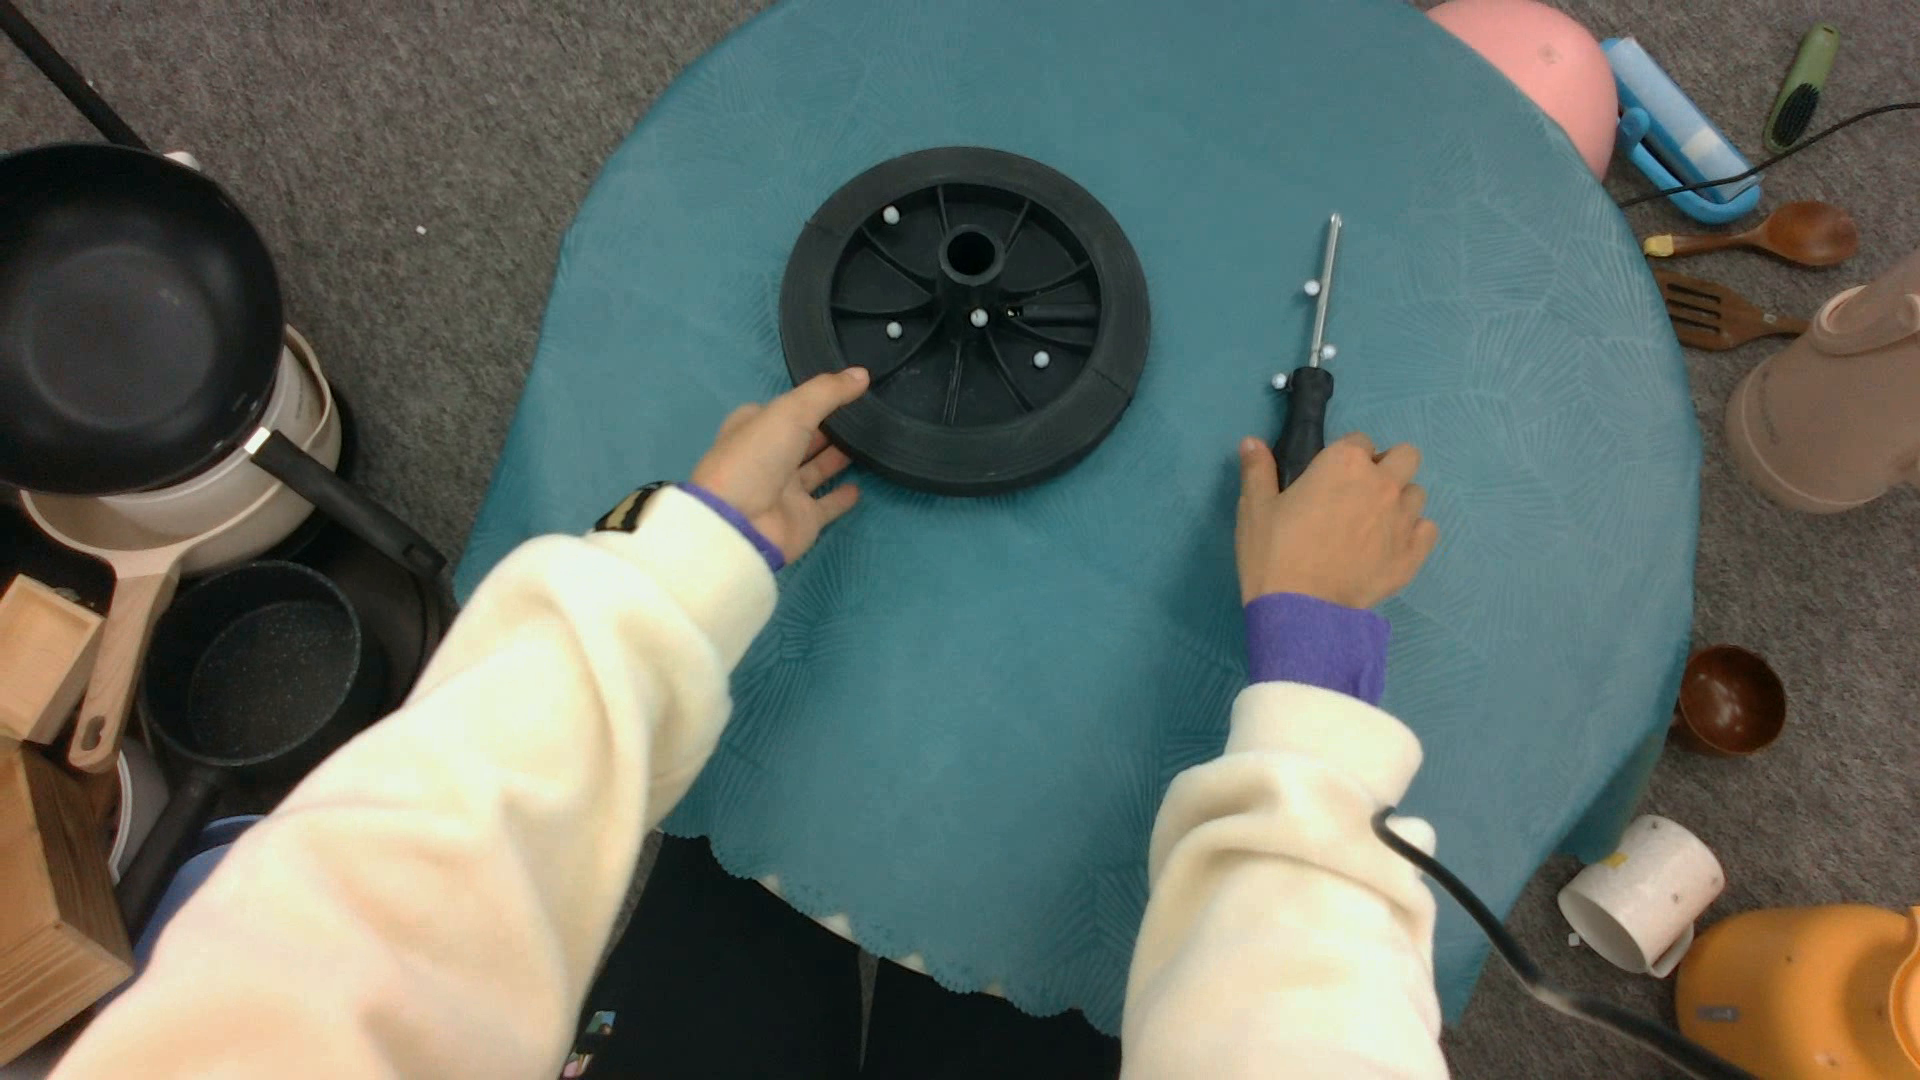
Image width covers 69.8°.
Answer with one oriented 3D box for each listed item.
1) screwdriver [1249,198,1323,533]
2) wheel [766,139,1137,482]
[{"bbox_3d":[0.170,-0.096,0.705,0.031,0.031,0.197,10,70,1],"label":"screwdriver"},{"bbox_3d":[-0.001,-0.127,0.680,0.190,0.079,0.187,-23,74,-13],"label":"wheel"}]
